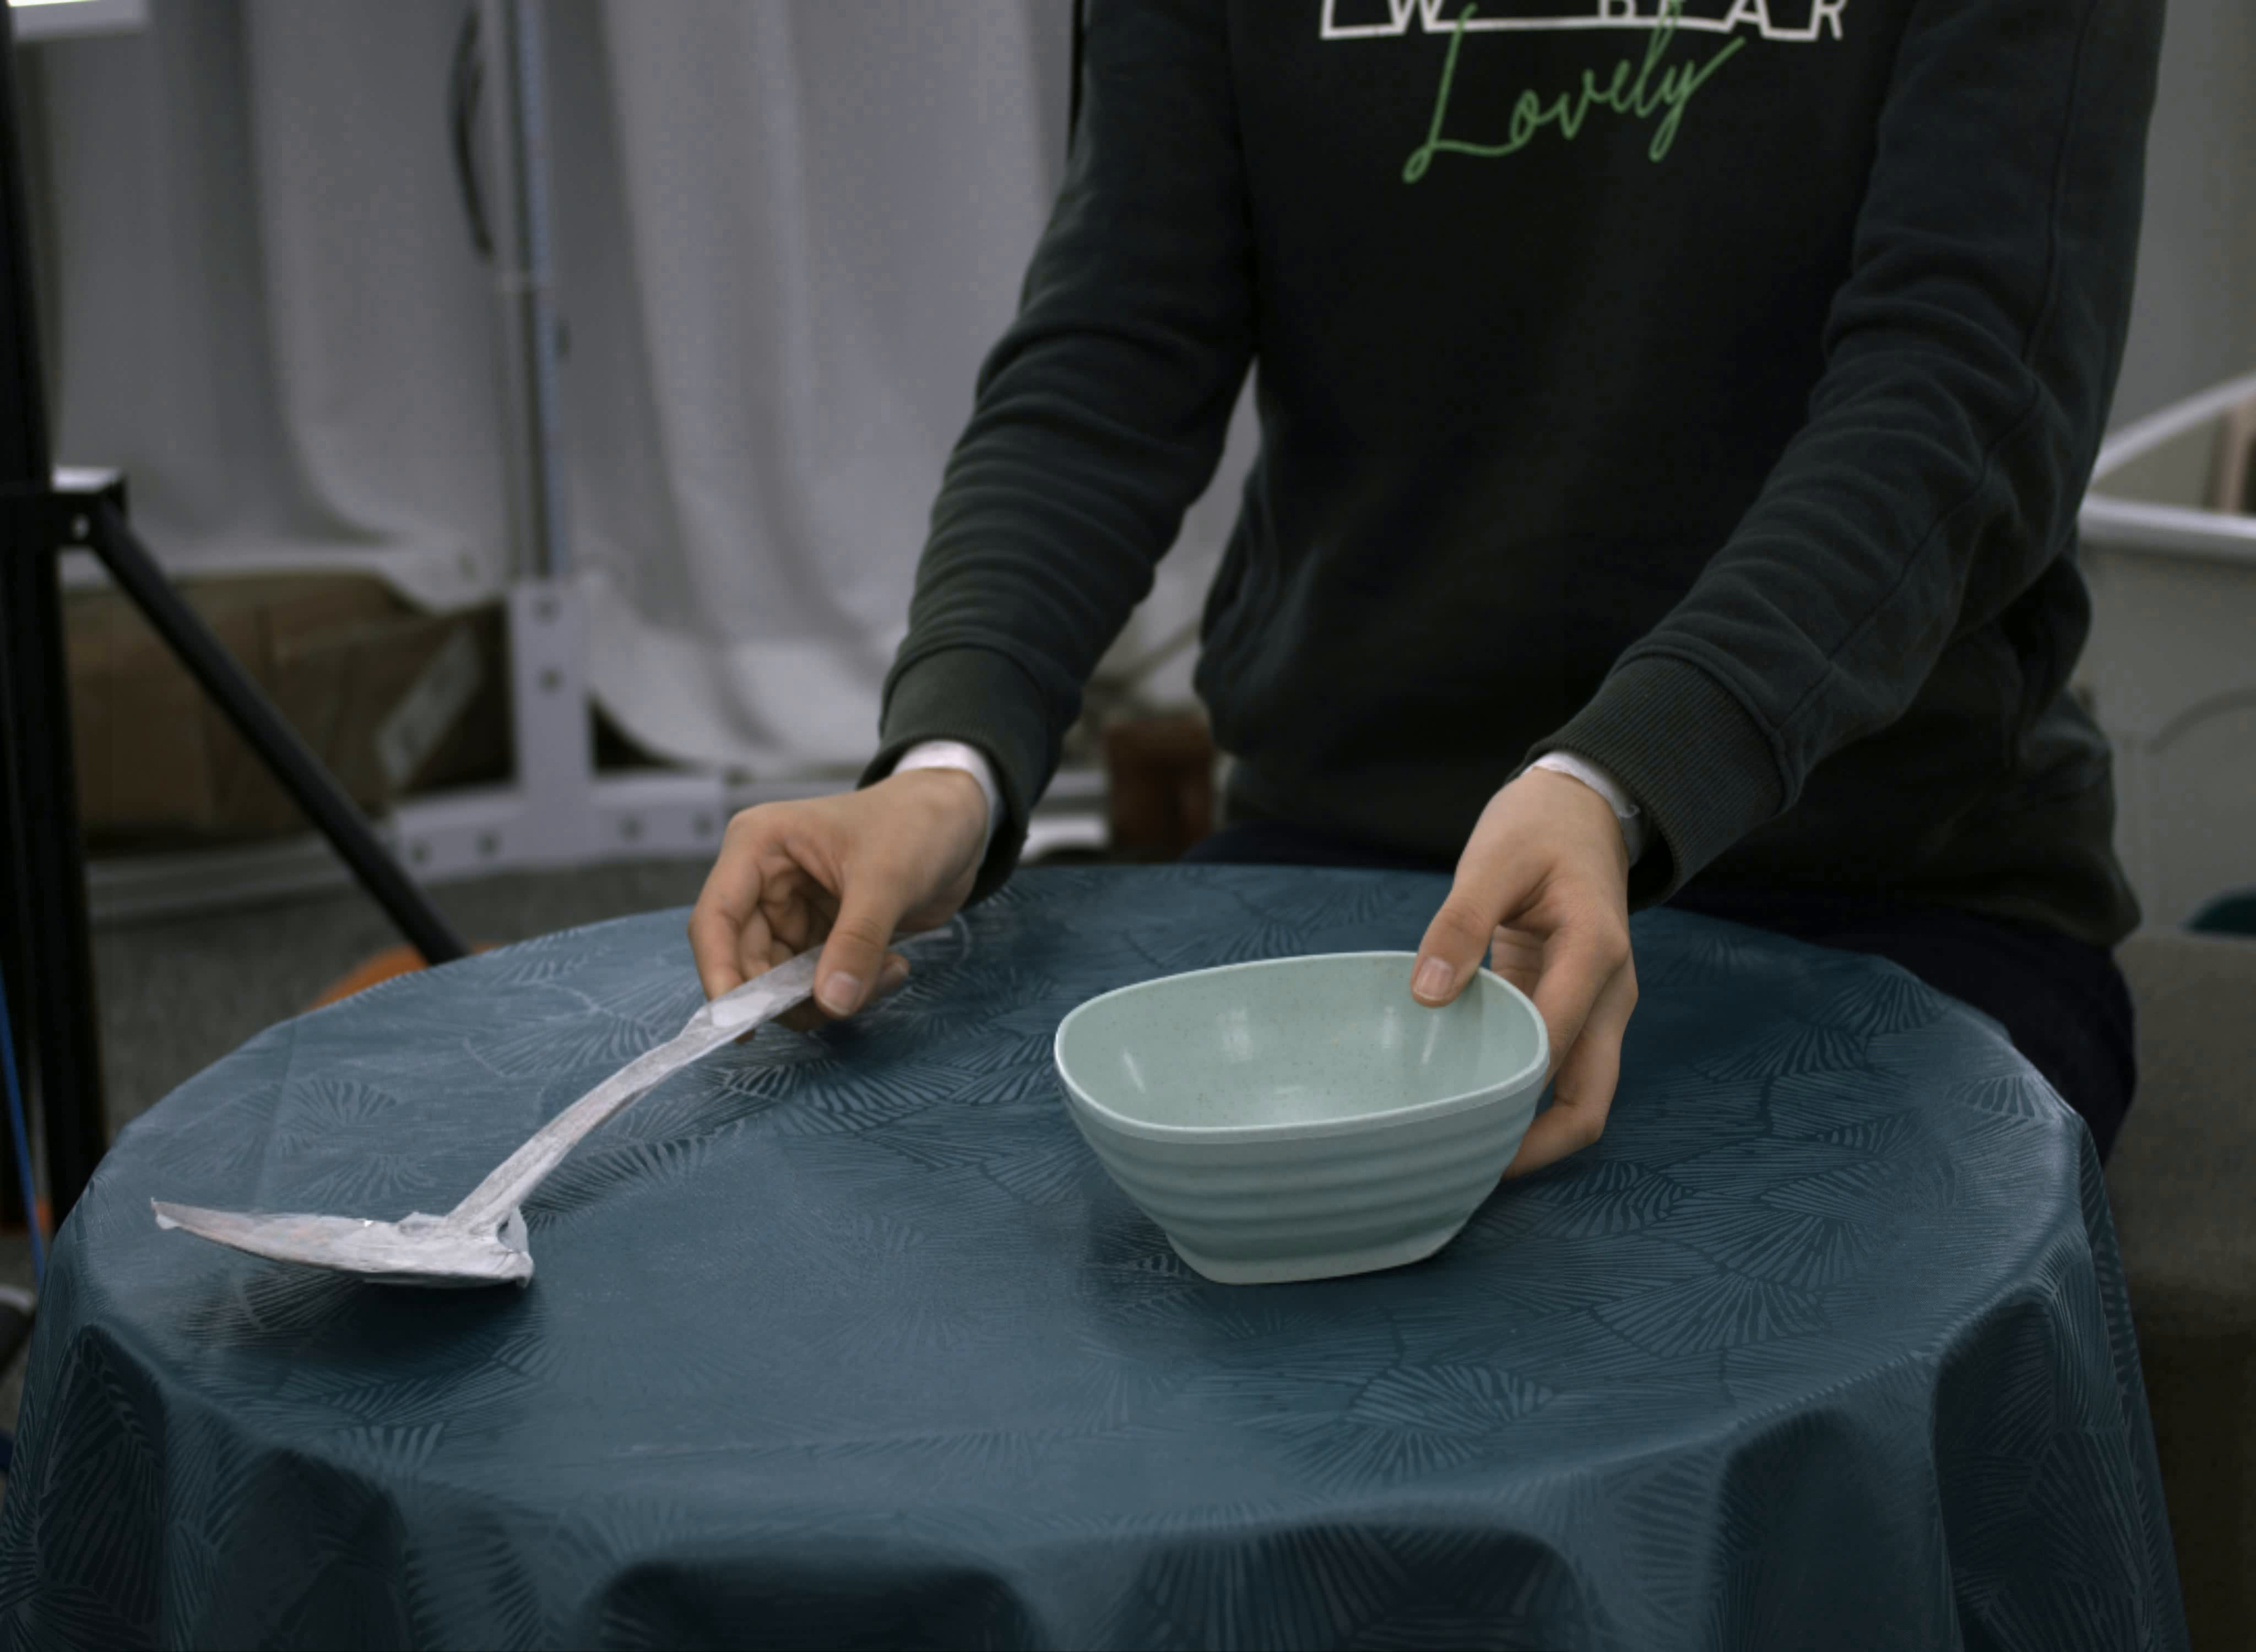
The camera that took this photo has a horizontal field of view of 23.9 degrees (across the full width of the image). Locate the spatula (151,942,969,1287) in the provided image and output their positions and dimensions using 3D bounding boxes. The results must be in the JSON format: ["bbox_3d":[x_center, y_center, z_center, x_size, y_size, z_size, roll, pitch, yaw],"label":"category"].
[{"bbox_3d":[-0.149,0.077,1.601,0.100,0.045,0.359,8,22,28],"label":"spatula"}]

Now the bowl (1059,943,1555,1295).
[{"bbox_3d":[0.052,0.088,1.511,0.151,0.058,0.152,-6,20,1],"label":"bowl"}]
